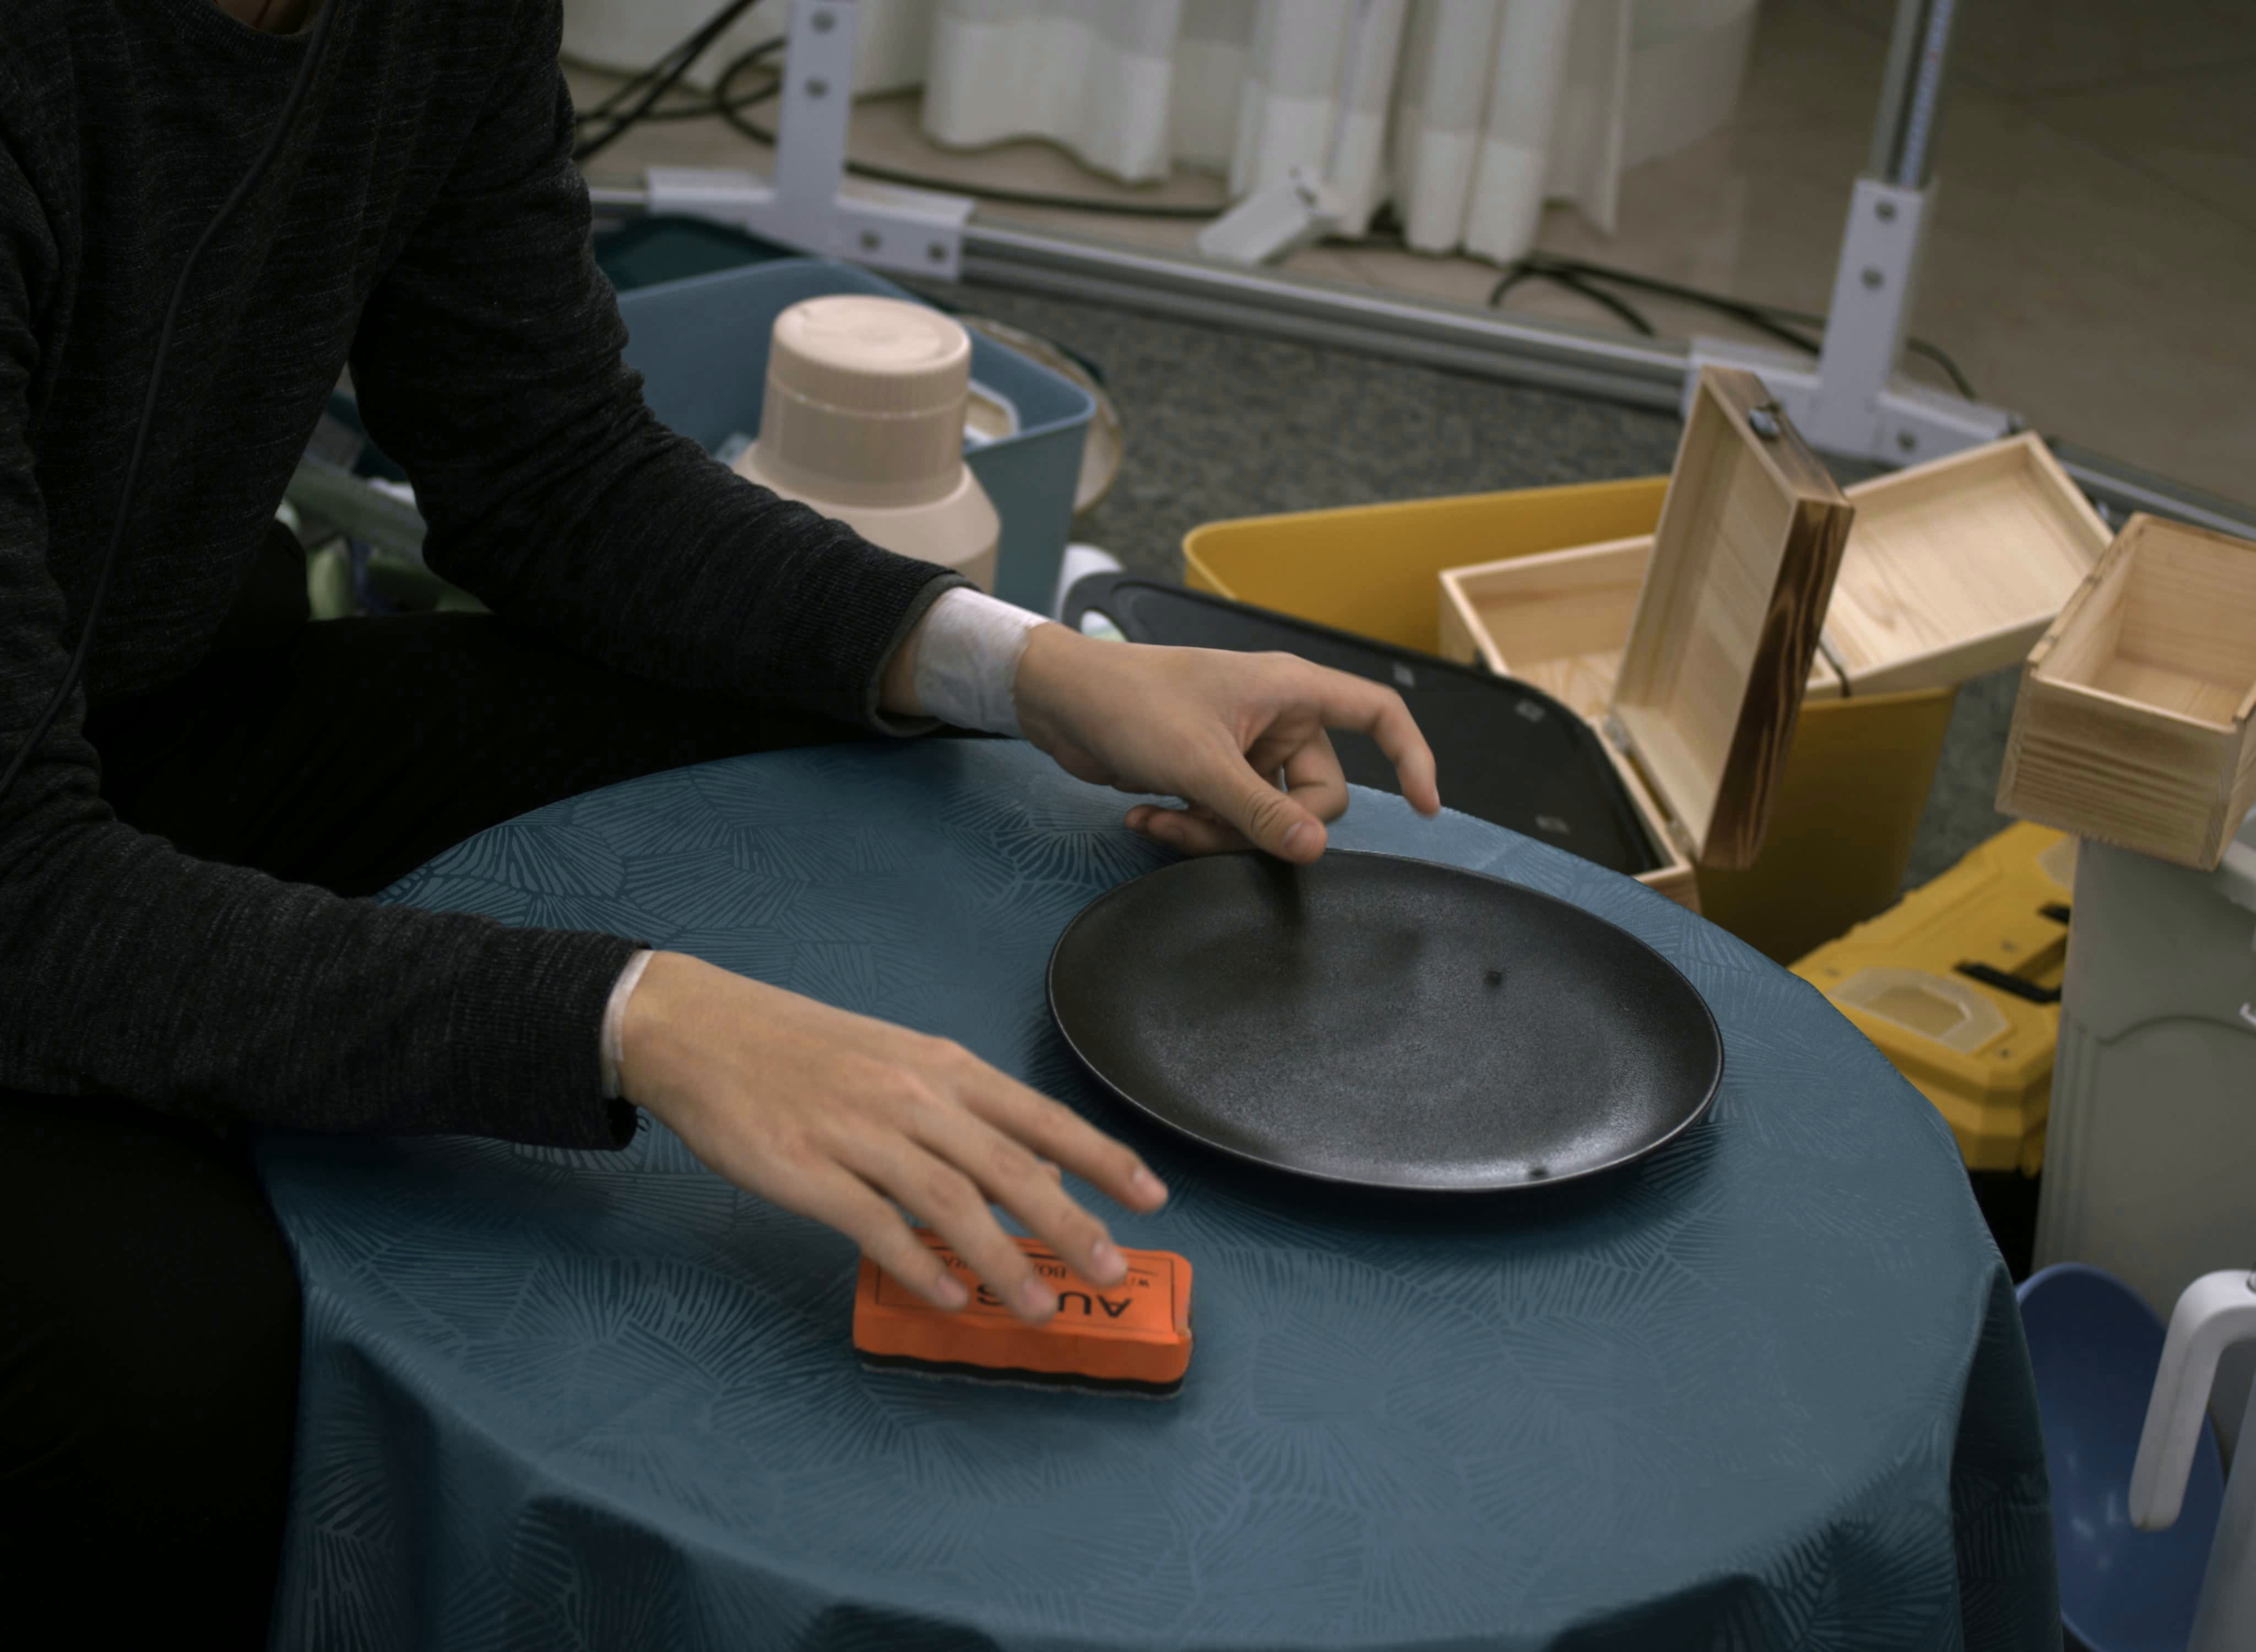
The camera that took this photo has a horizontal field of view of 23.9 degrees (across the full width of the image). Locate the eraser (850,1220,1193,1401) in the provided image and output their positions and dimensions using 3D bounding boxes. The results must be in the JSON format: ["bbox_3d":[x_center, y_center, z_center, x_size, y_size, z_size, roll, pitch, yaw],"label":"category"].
[{"bbox_3d":[-0.034,0.155,1.706,0.108,0.023,0.059,7,26,0],"label":"eraser"}]

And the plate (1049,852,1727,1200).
[{"bbox_3d":[0.091,0.074,1.893,0.243,0.023,0.246,5,27,-3],"label":"plate"}]
